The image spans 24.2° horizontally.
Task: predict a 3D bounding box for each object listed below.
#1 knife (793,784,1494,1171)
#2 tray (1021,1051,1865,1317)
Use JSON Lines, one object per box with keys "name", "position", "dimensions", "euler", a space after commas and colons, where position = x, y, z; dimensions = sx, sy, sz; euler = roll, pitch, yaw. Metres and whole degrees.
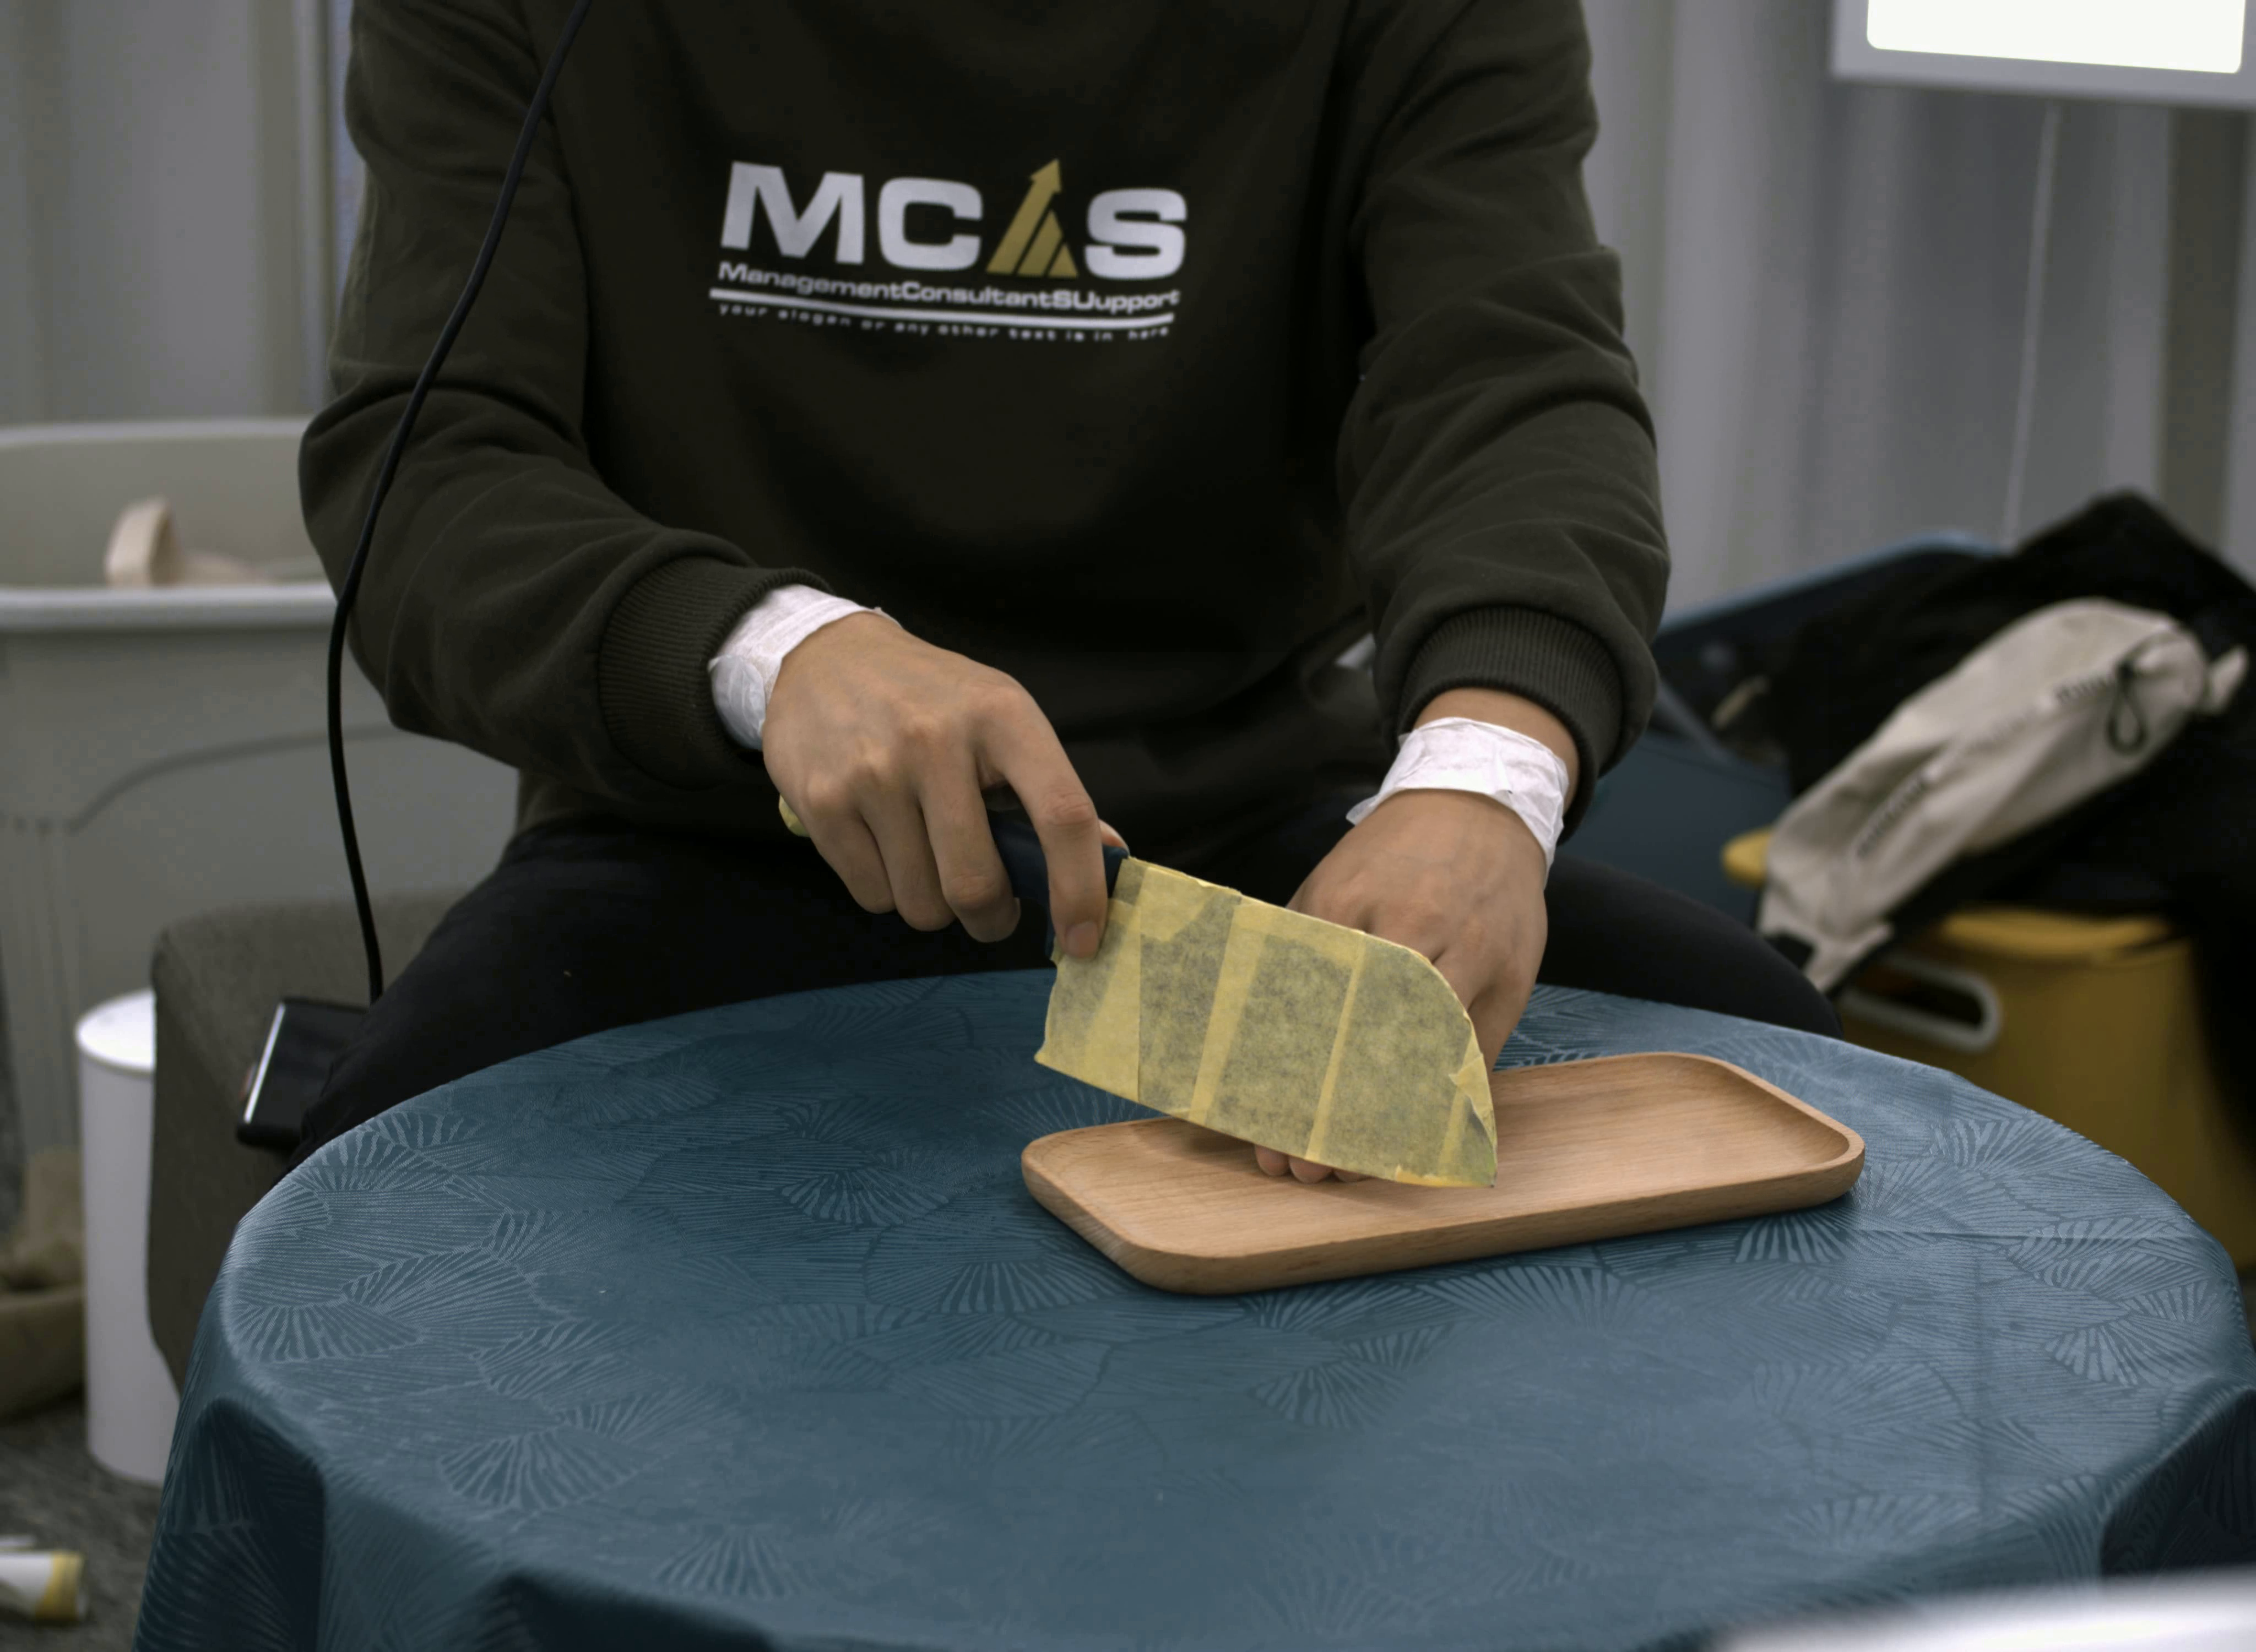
{"name": "knife", "position": [0.000, 0.044, 1.645], "dimensions": [0.285, 0.081, 0.027], "euler": [21, 7, 35]}
{"name": "tray", "position": [0.098, 0.109, 1.622], "dimensions": [0.251, 0.023, 0.129], "euler": [-9, 15, -23]}
